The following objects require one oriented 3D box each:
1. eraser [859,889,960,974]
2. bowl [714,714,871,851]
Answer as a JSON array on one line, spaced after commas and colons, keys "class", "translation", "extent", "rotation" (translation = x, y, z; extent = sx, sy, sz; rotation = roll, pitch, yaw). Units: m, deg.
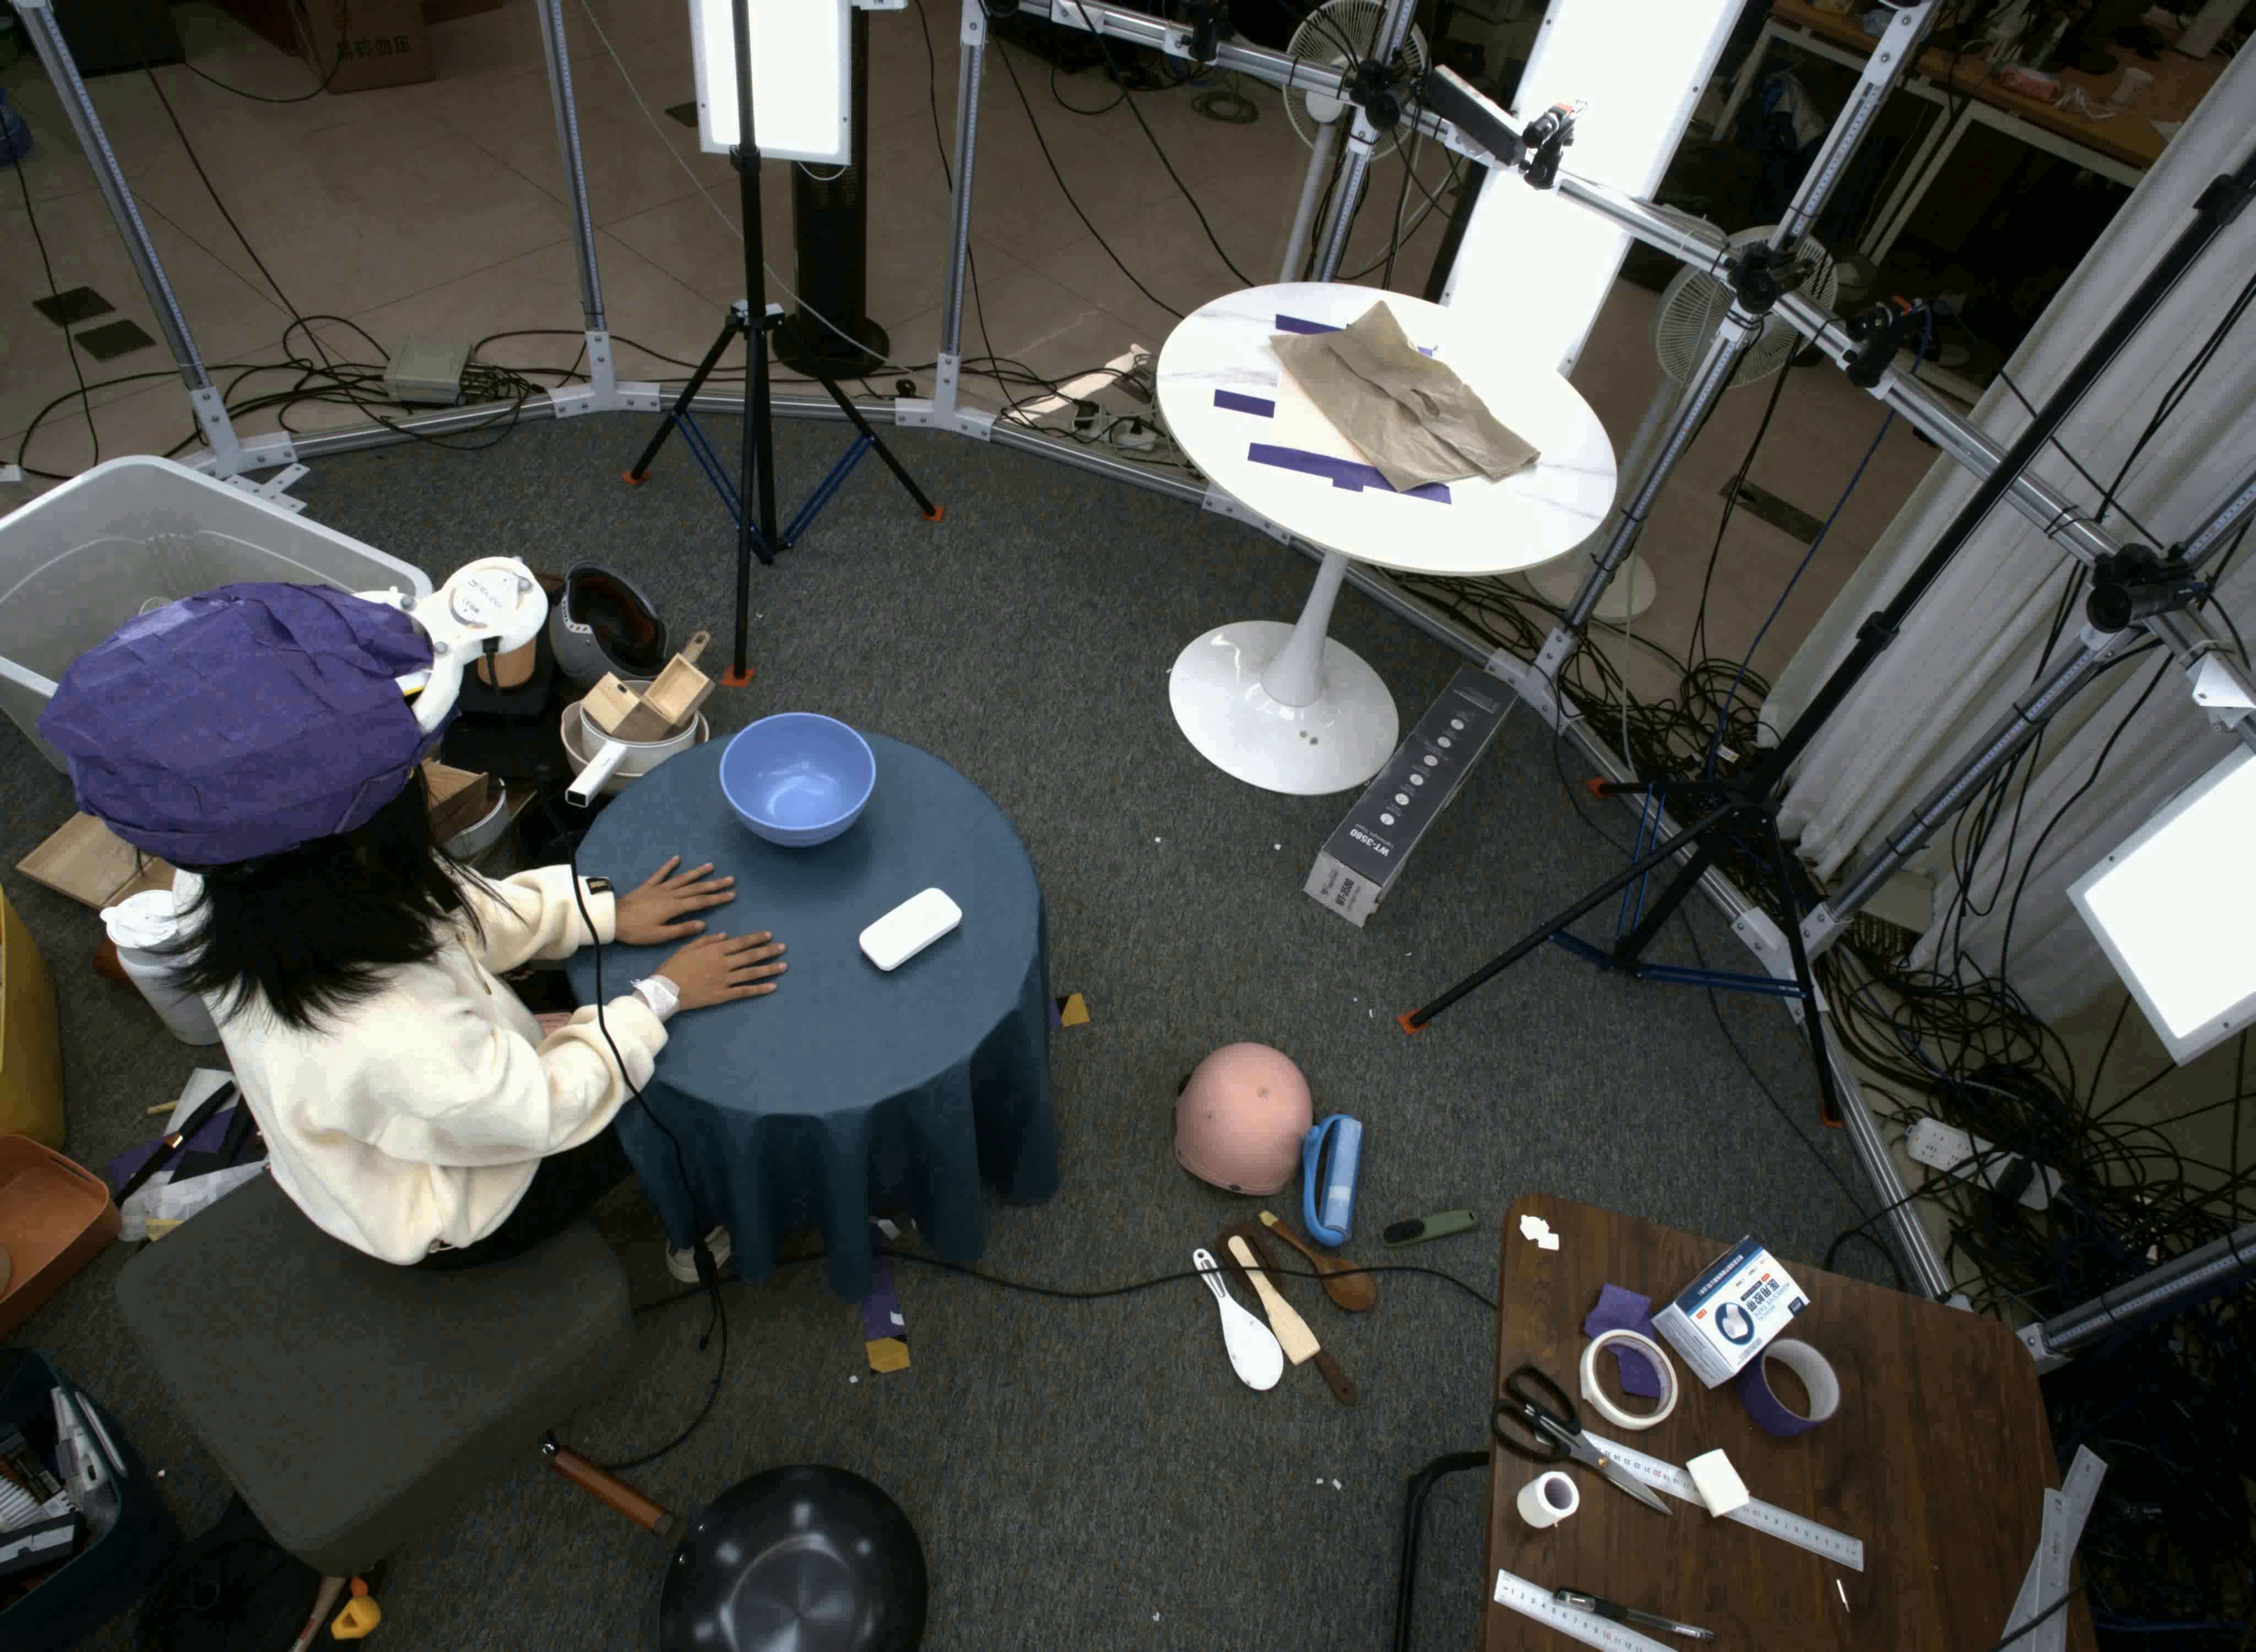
[{"class": "eraser", "translation": [-0.276, 0.129, 1.642], "extent": [0.062, 0.035, 0.131], "rotation": [41, 54, 19]}, {"class": "bowl", "translation": [-0.438, -0.042, 1.687], "extent": [0.197, 0.097, 0.193], "rotation": [11, 50, -12]}]
